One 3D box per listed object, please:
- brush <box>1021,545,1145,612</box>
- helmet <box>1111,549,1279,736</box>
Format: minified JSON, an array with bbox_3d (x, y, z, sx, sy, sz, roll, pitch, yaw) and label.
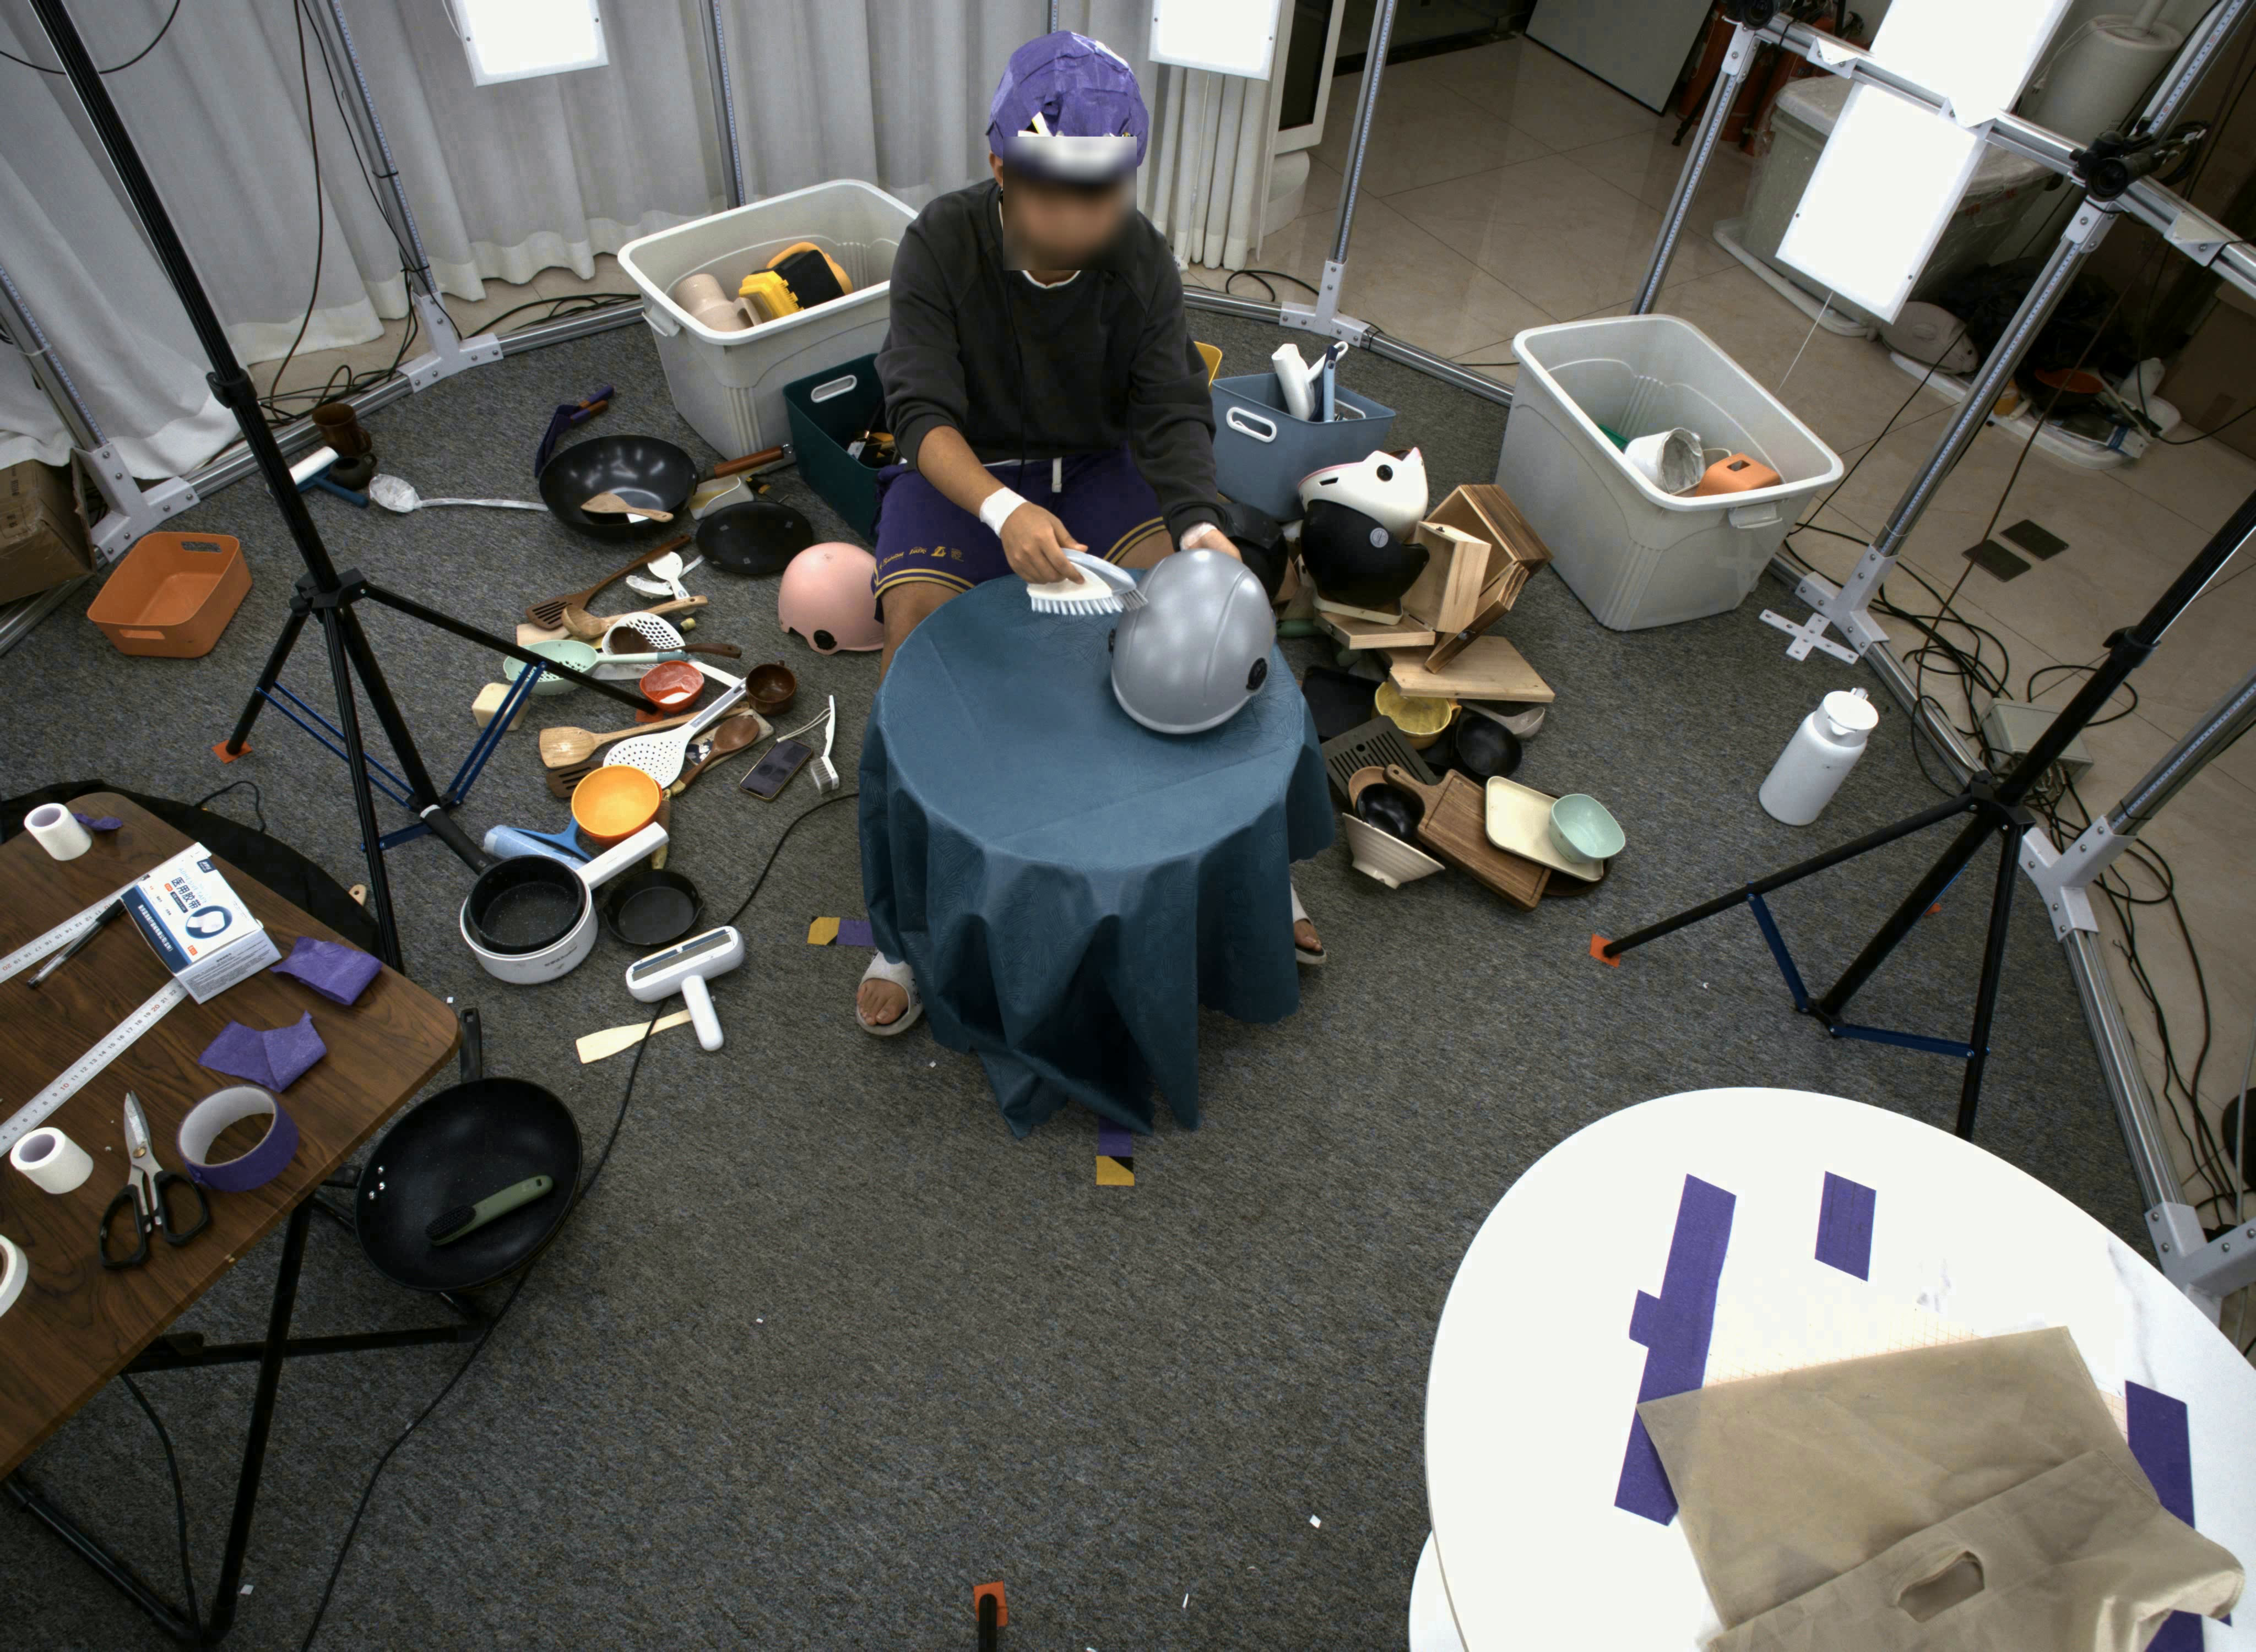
[{"bbox_3d":[-0.066,-0.336,1.722,0.177,0.092,0.062,11,59,30],"label":"brush"},{"bbox_3d":[0.090,-0.278,1.783,0.233,0.164,0.281,14,54,18],"label":"helmet"}]
